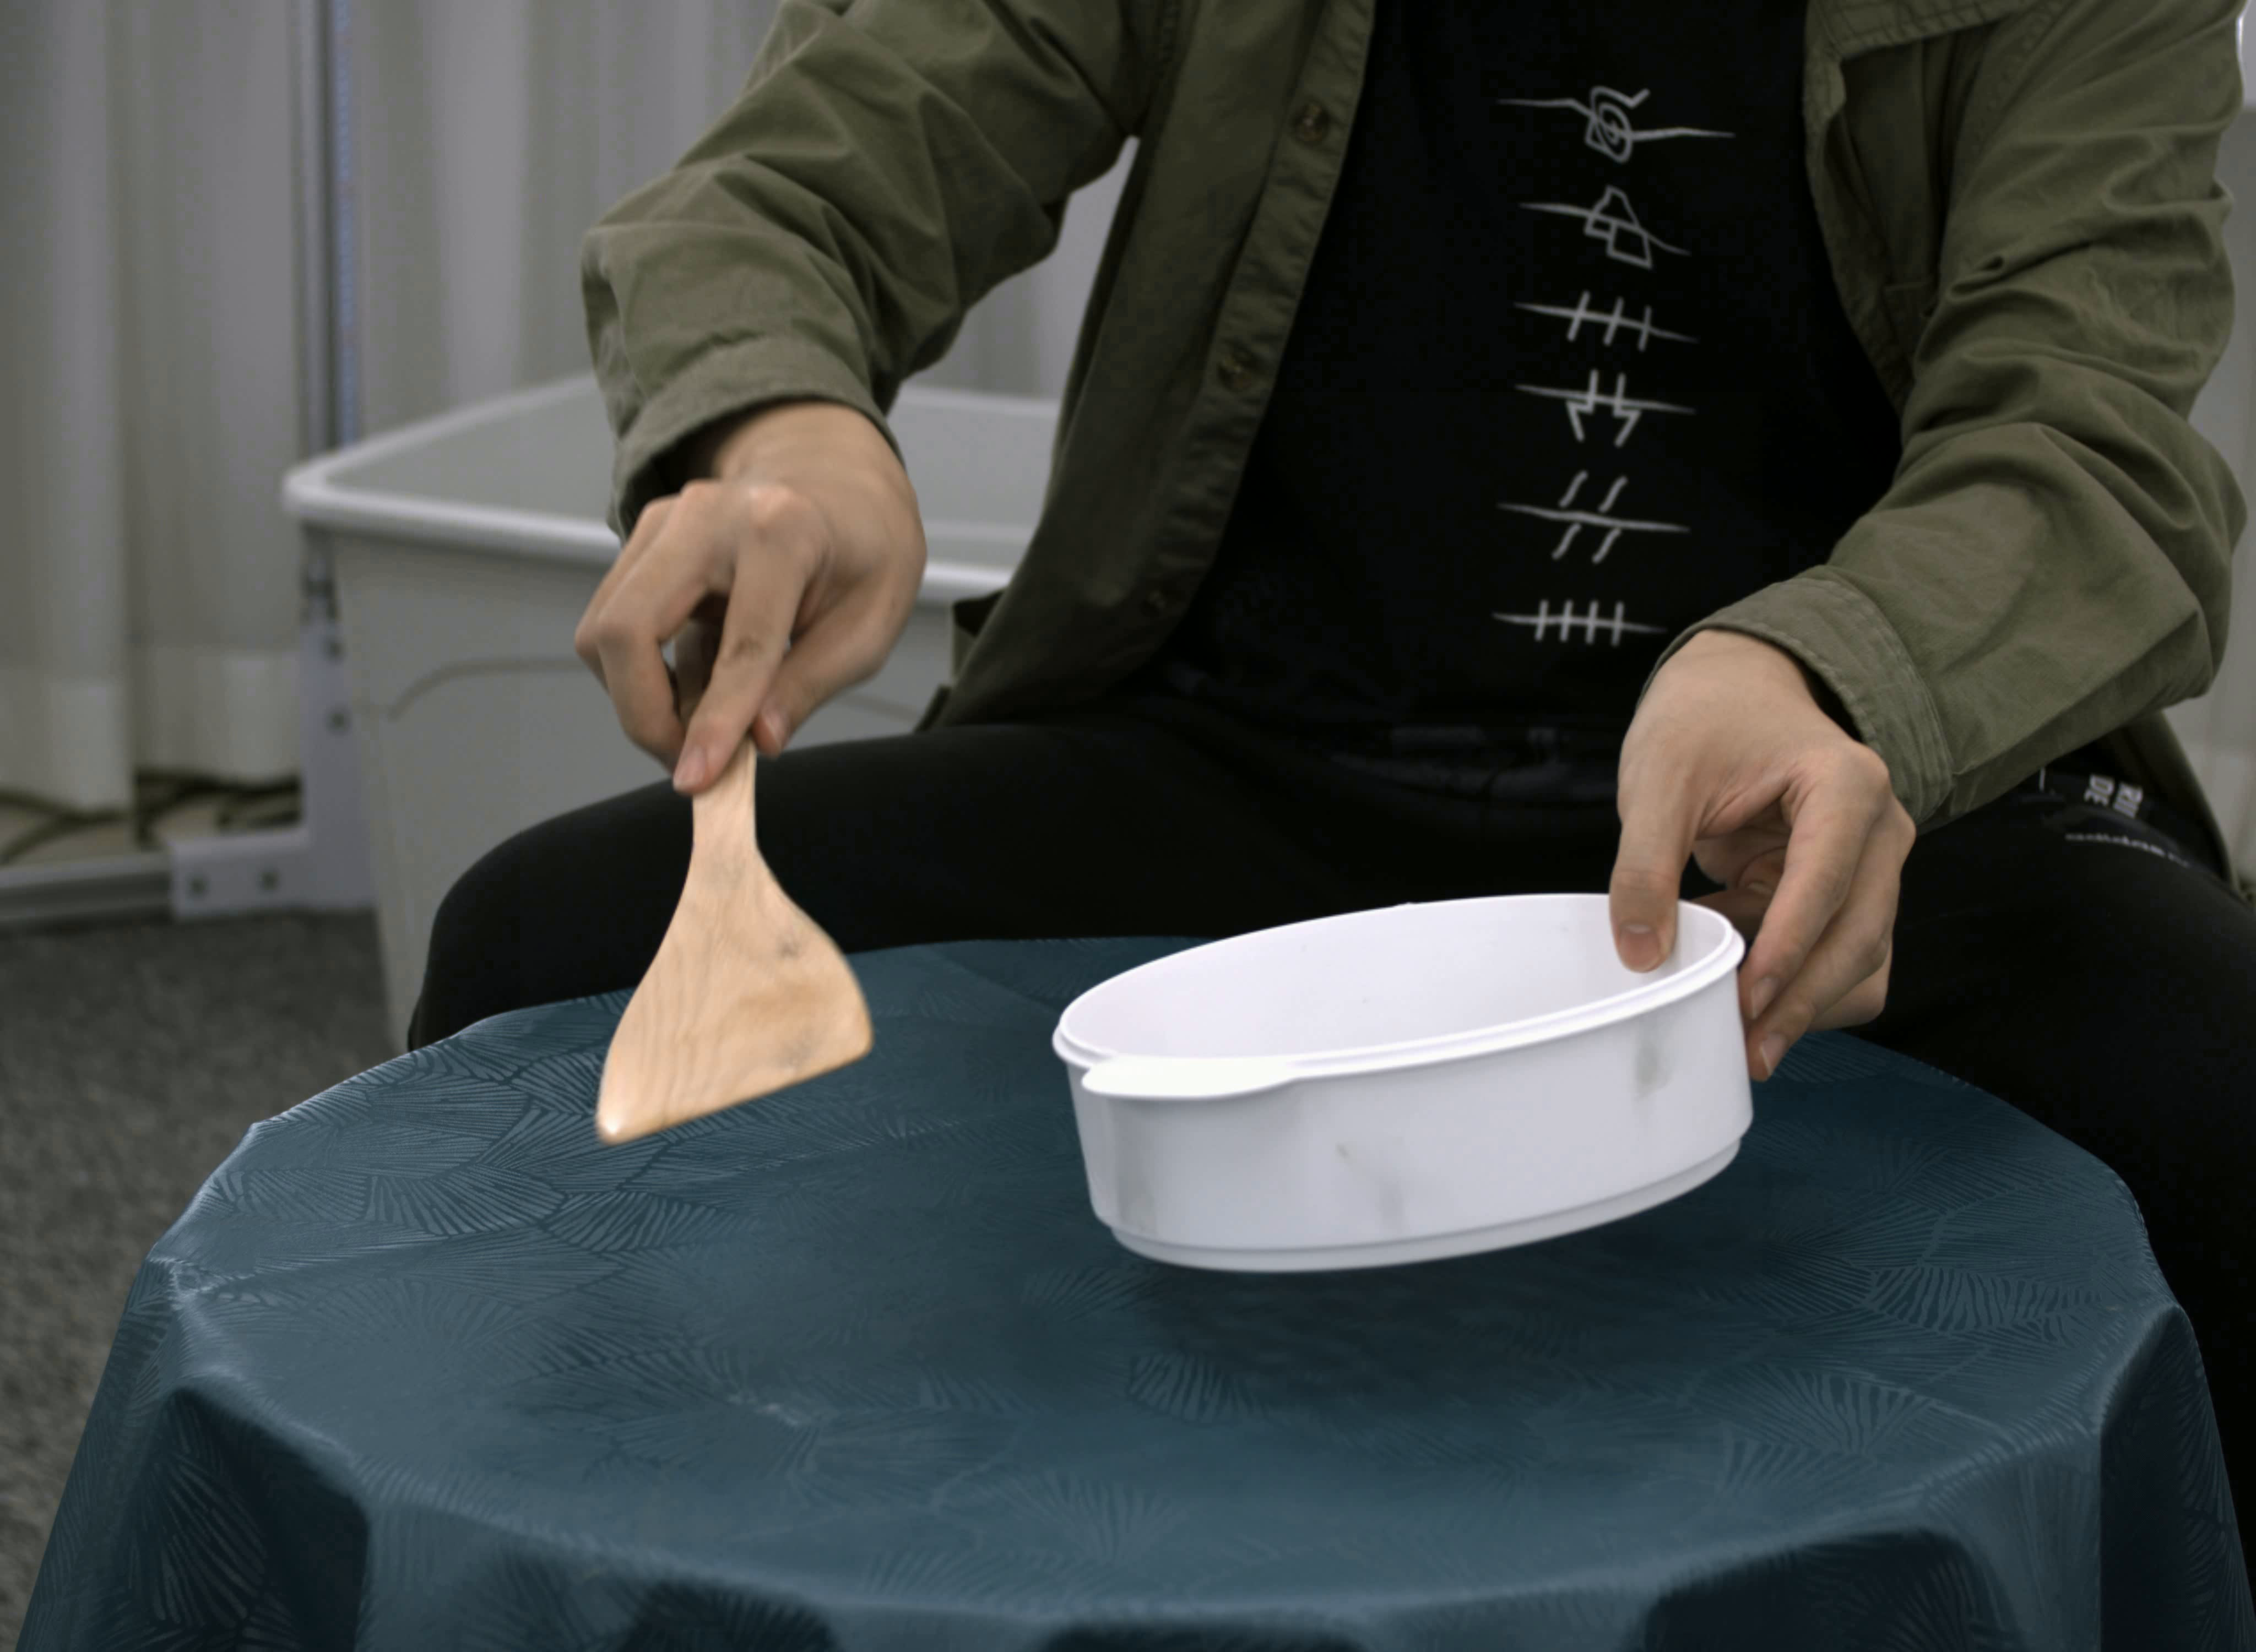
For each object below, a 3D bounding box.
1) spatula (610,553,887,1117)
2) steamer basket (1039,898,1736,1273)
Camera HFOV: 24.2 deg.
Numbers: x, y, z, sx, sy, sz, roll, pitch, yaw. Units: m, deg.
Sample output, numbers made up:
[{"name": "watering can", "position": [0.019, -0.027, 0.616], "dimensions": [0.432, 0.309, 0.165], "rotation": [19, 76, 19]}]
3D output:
[{"name": "spatula", "position": [-0.118, -0.007, 1.569], "dimensions": [0.079, 0.017, 0.324], "rotation": [-15, 31, 2]}, {"name": "steamer basket", "position": [0.077, 0.075, 1.521], "dimensions": [0.199, 0.070, 0.231], "rotation": [2, 13, 40]}]
